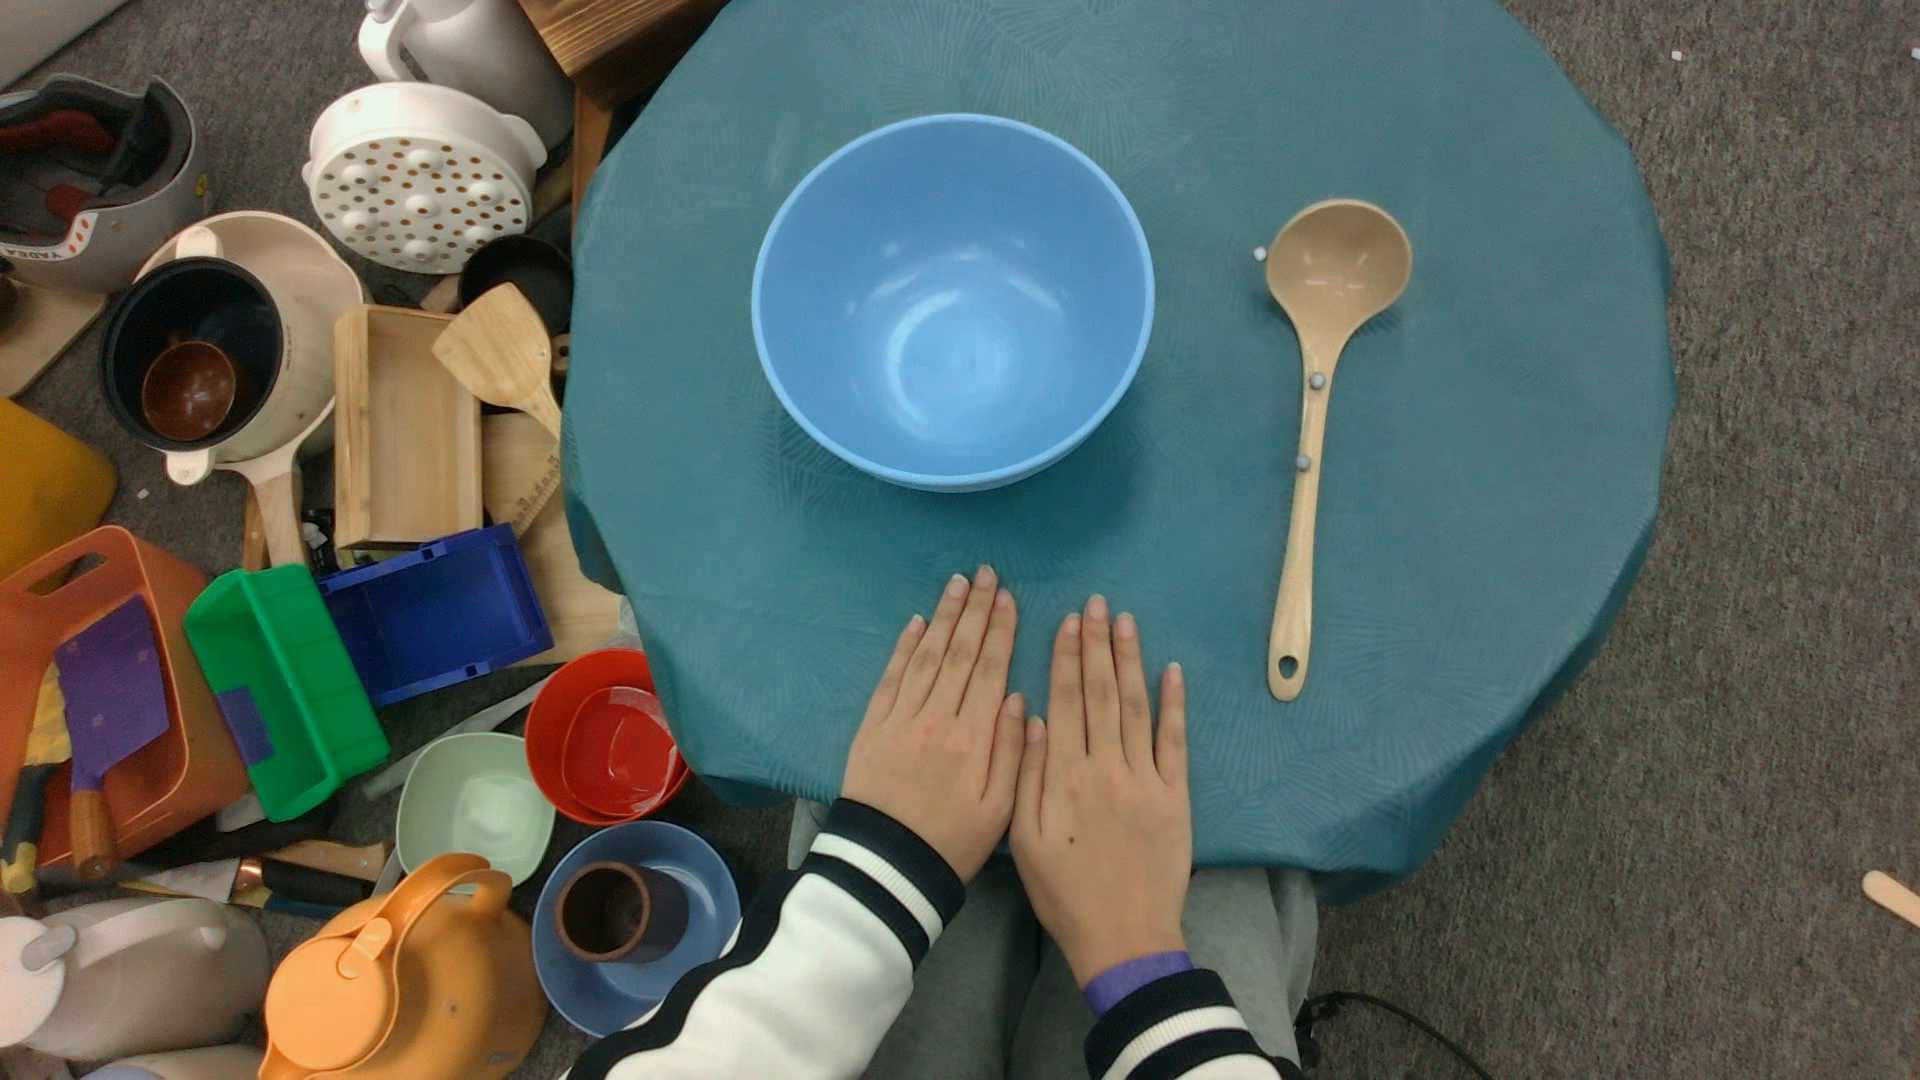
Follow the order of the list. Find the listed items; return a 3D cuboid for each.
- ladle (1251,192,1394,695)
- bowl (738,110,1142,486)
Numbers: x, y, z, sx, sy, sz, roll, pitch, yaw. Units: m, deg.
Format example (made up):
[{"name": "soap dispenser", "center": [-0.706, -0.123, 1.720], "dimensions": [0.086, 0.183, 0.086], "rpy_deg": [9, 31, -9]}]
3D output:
[{"name": "ladle", "center": [0.176, -0.053, 0.692], "dimensions": [0.072, 0.072, 0.255], "rpy_deg": [6, 74, 7]}, {"name": "bowl", "center": [-0.009, -0.110, 0.710], "dimensions": [0.196, 0.095, 0.197], "rpy_deg": [0, 74, 1]}]
